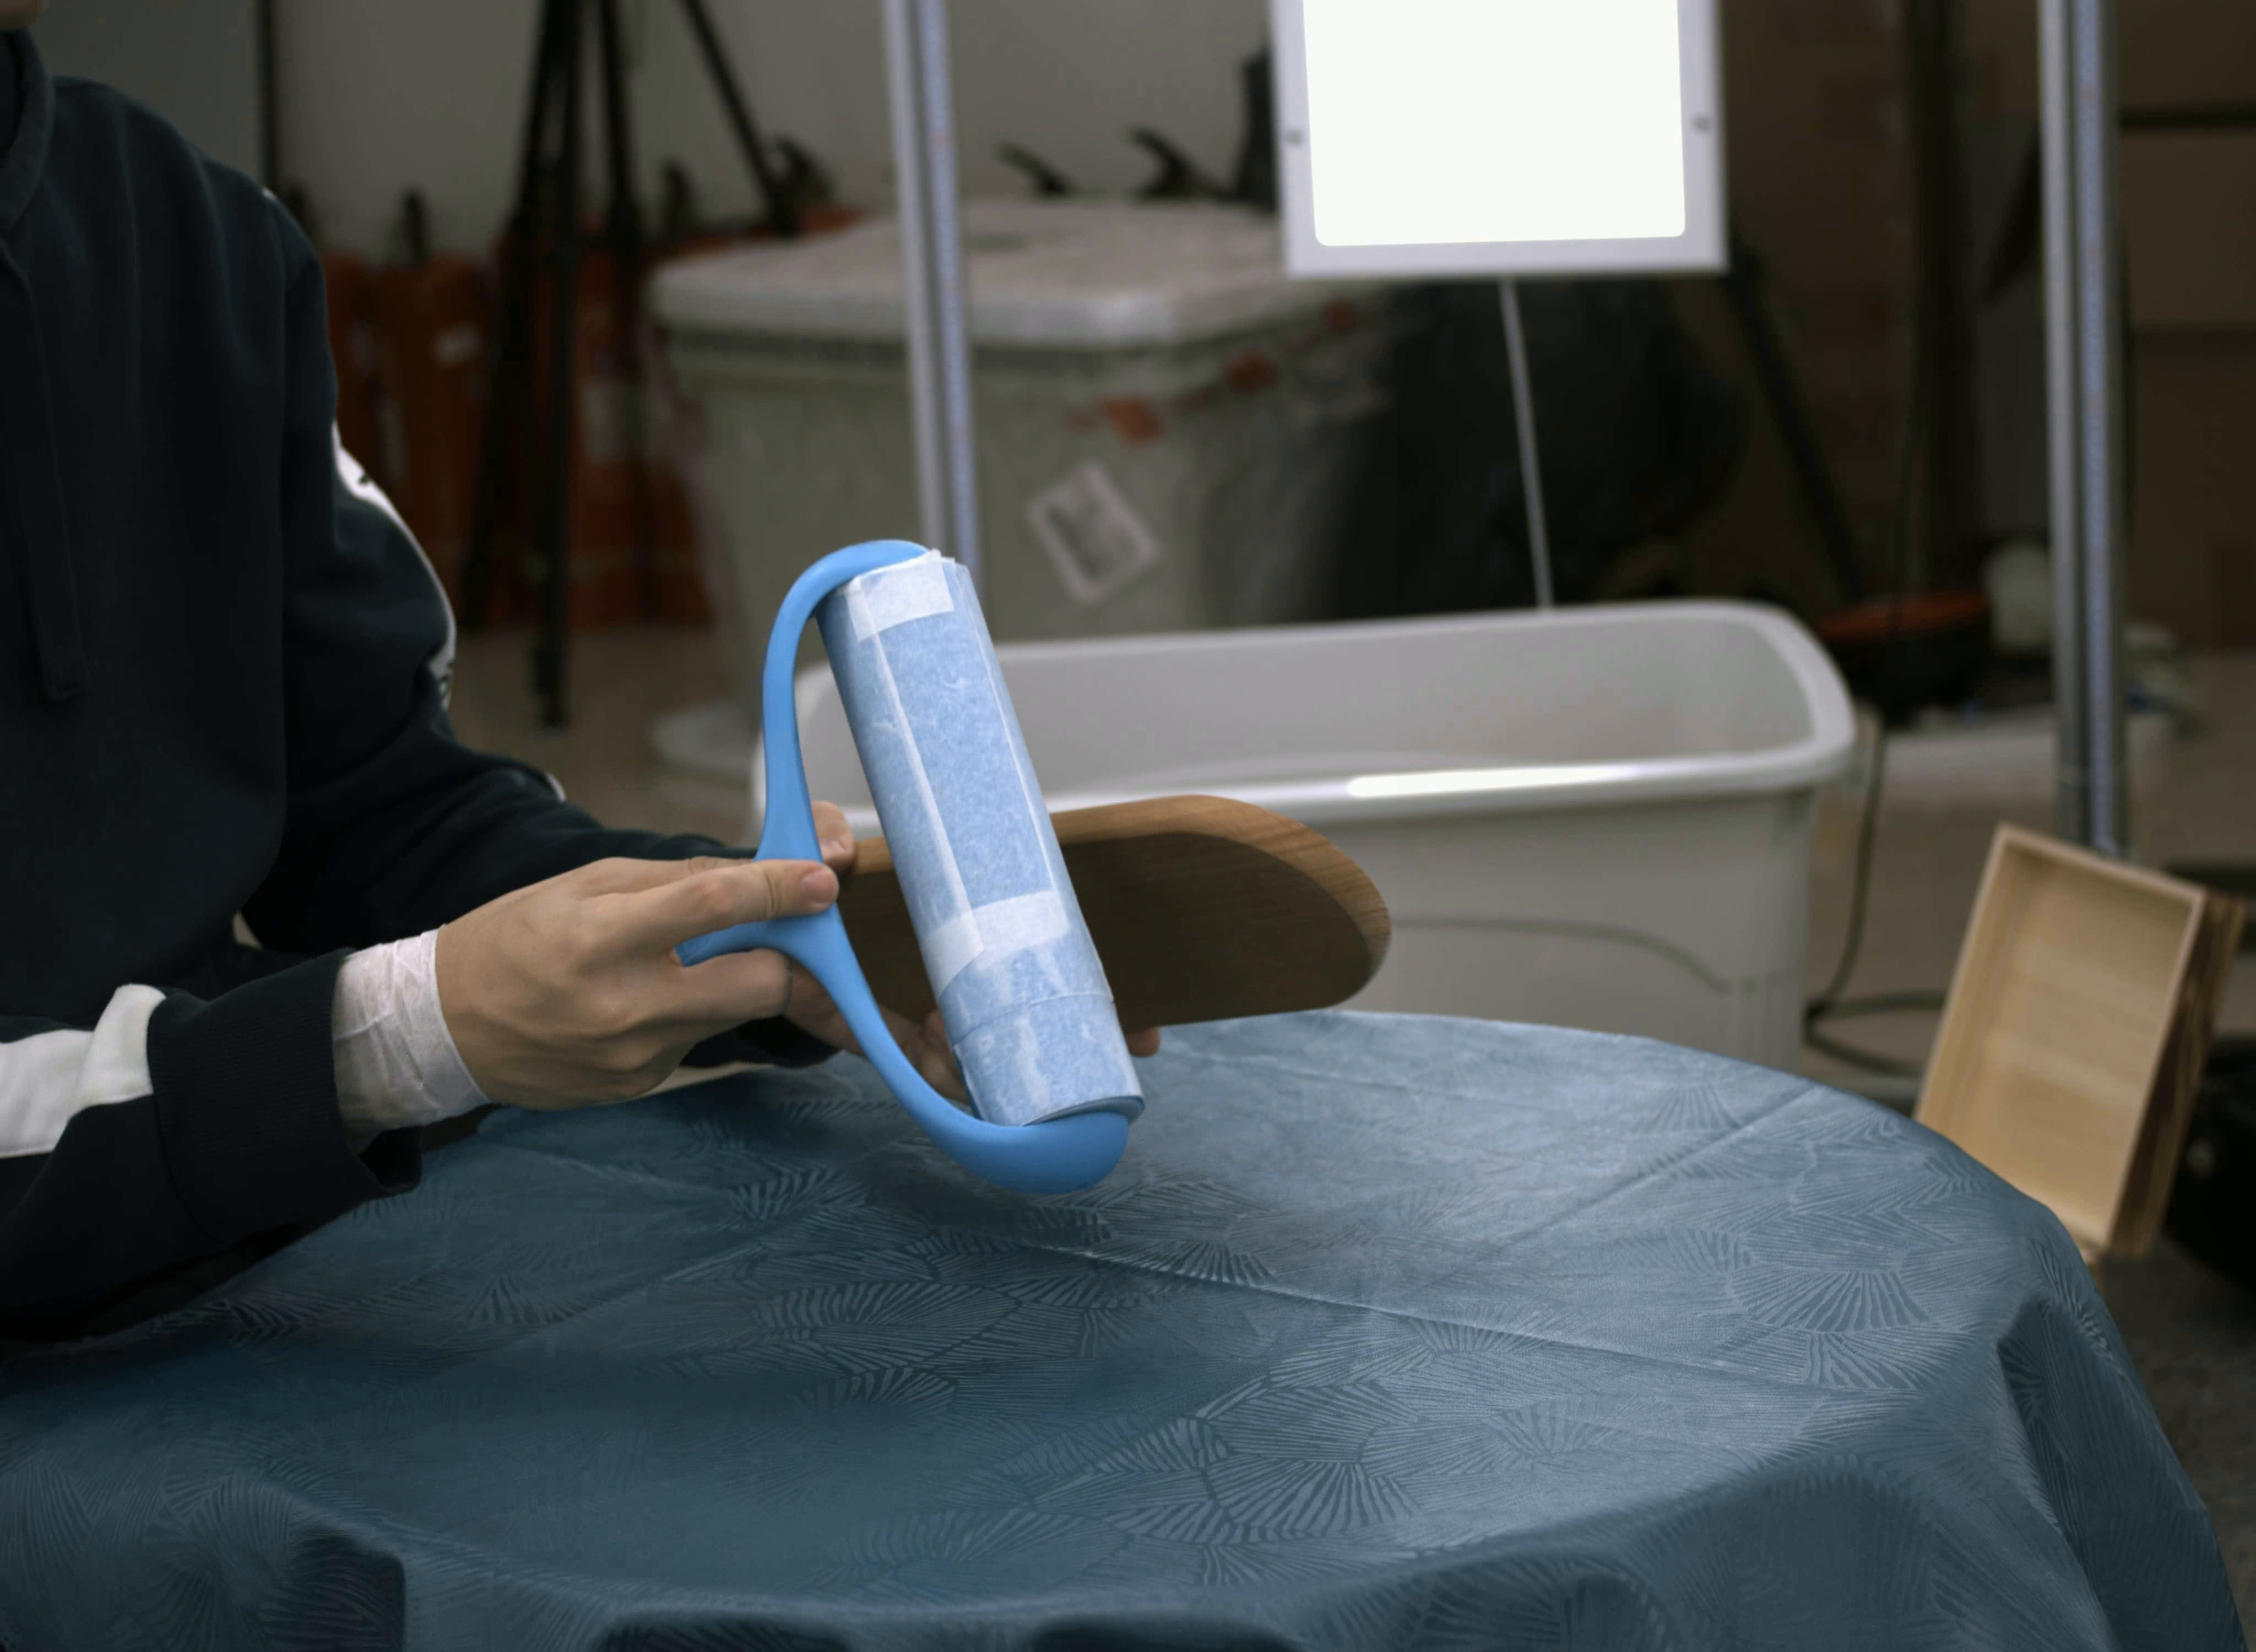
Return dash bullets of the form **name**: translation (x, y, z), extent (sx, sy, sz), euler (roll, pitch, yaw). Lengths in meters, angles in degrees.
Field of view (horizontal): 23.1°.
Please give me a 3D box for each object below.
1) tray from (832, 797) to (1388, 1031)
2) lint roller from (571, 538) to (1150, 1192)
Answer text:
- **tray**: translation (-0.014, 0.034, 1.867), extent (0.236, 0.100, 0.020), euler (-8, 44, 39)
- **lint roller**: translation (-0.103, 0.033, 1.776), extent (0.181, 0.230, 0.067), euler (-23, -18, 6)
